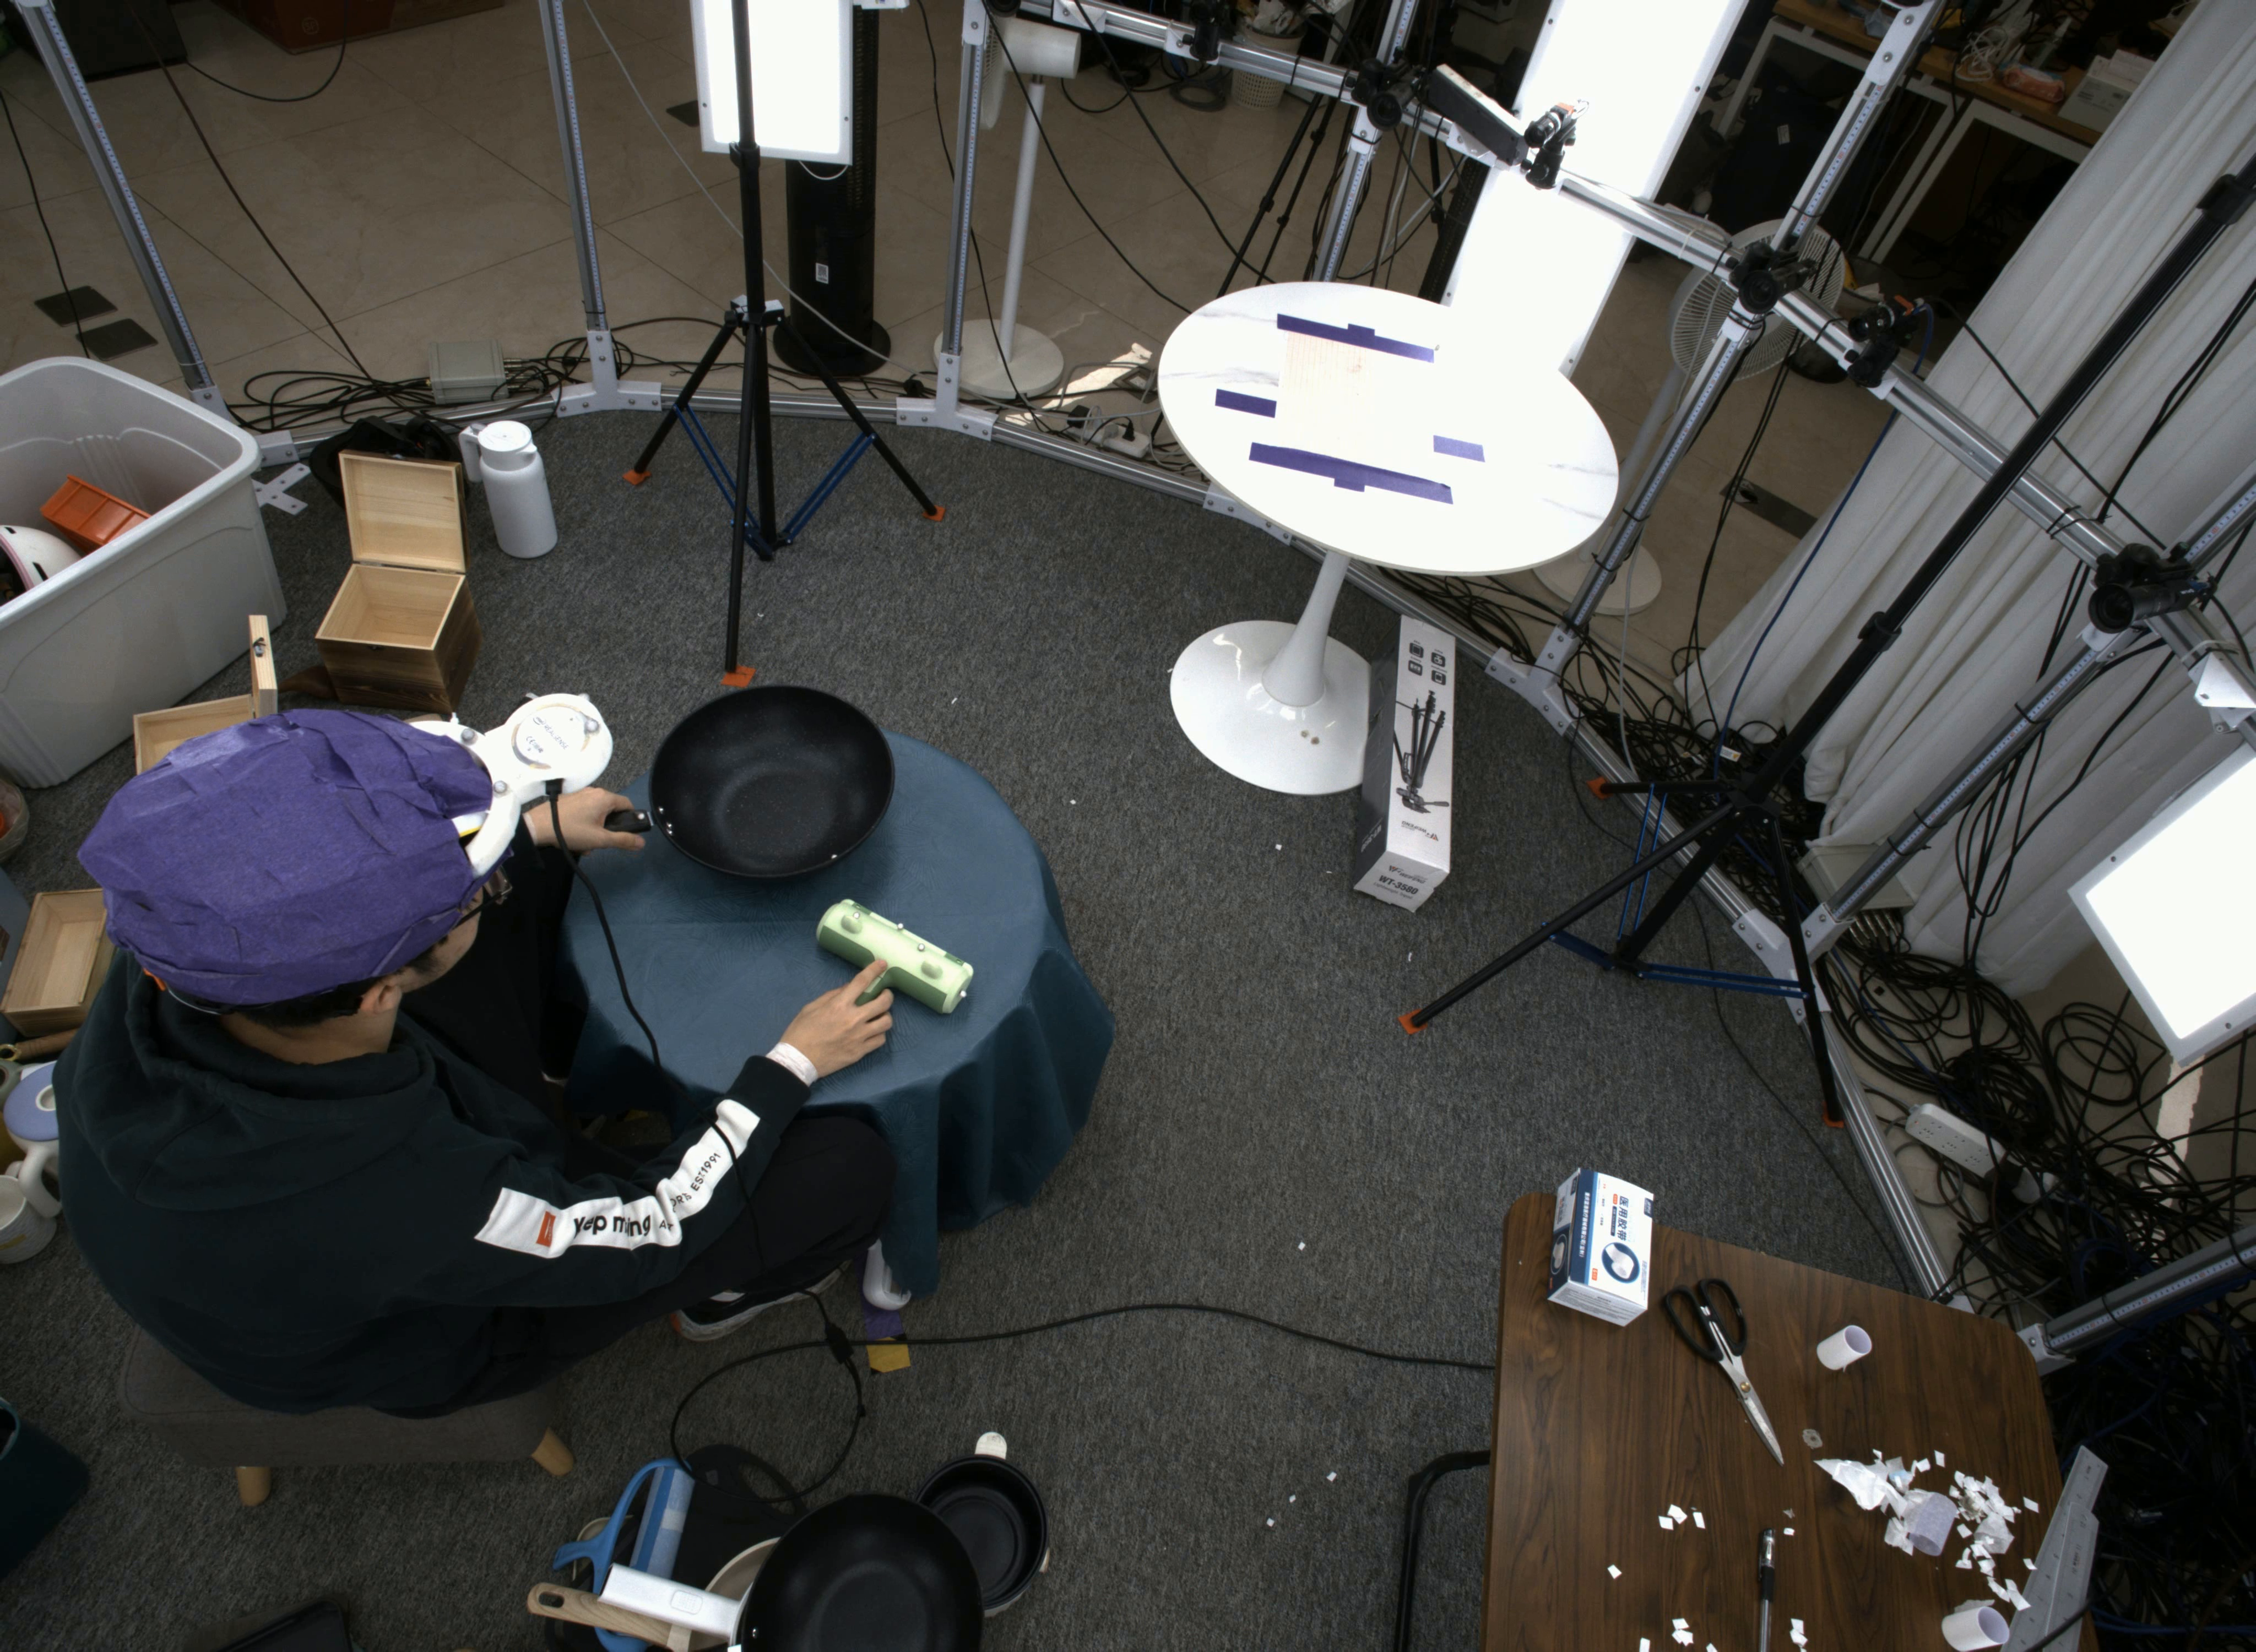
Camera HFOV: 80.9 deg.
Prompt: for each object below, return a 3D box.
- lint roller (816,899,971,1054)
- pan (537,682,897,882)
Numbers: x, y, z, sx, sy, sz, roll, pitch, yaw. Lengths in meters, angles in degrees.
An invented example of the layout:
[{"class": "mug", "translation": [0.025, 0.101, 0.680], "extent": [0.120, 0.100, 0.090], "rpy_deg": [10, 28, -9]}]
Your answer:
[{"class": "lint roller", "translation": [-0.315, 0.188, 1.571], "extent": [0.196, 0.084, 0.182], "rpy_deg": [29, 47, 7]}, {"class": "pan", "translation": [-0.527, -0.024, 1.653], "extent": [0.478, 0.114, 0.302], "rpy_deg": [-20, 61, -21]}]
